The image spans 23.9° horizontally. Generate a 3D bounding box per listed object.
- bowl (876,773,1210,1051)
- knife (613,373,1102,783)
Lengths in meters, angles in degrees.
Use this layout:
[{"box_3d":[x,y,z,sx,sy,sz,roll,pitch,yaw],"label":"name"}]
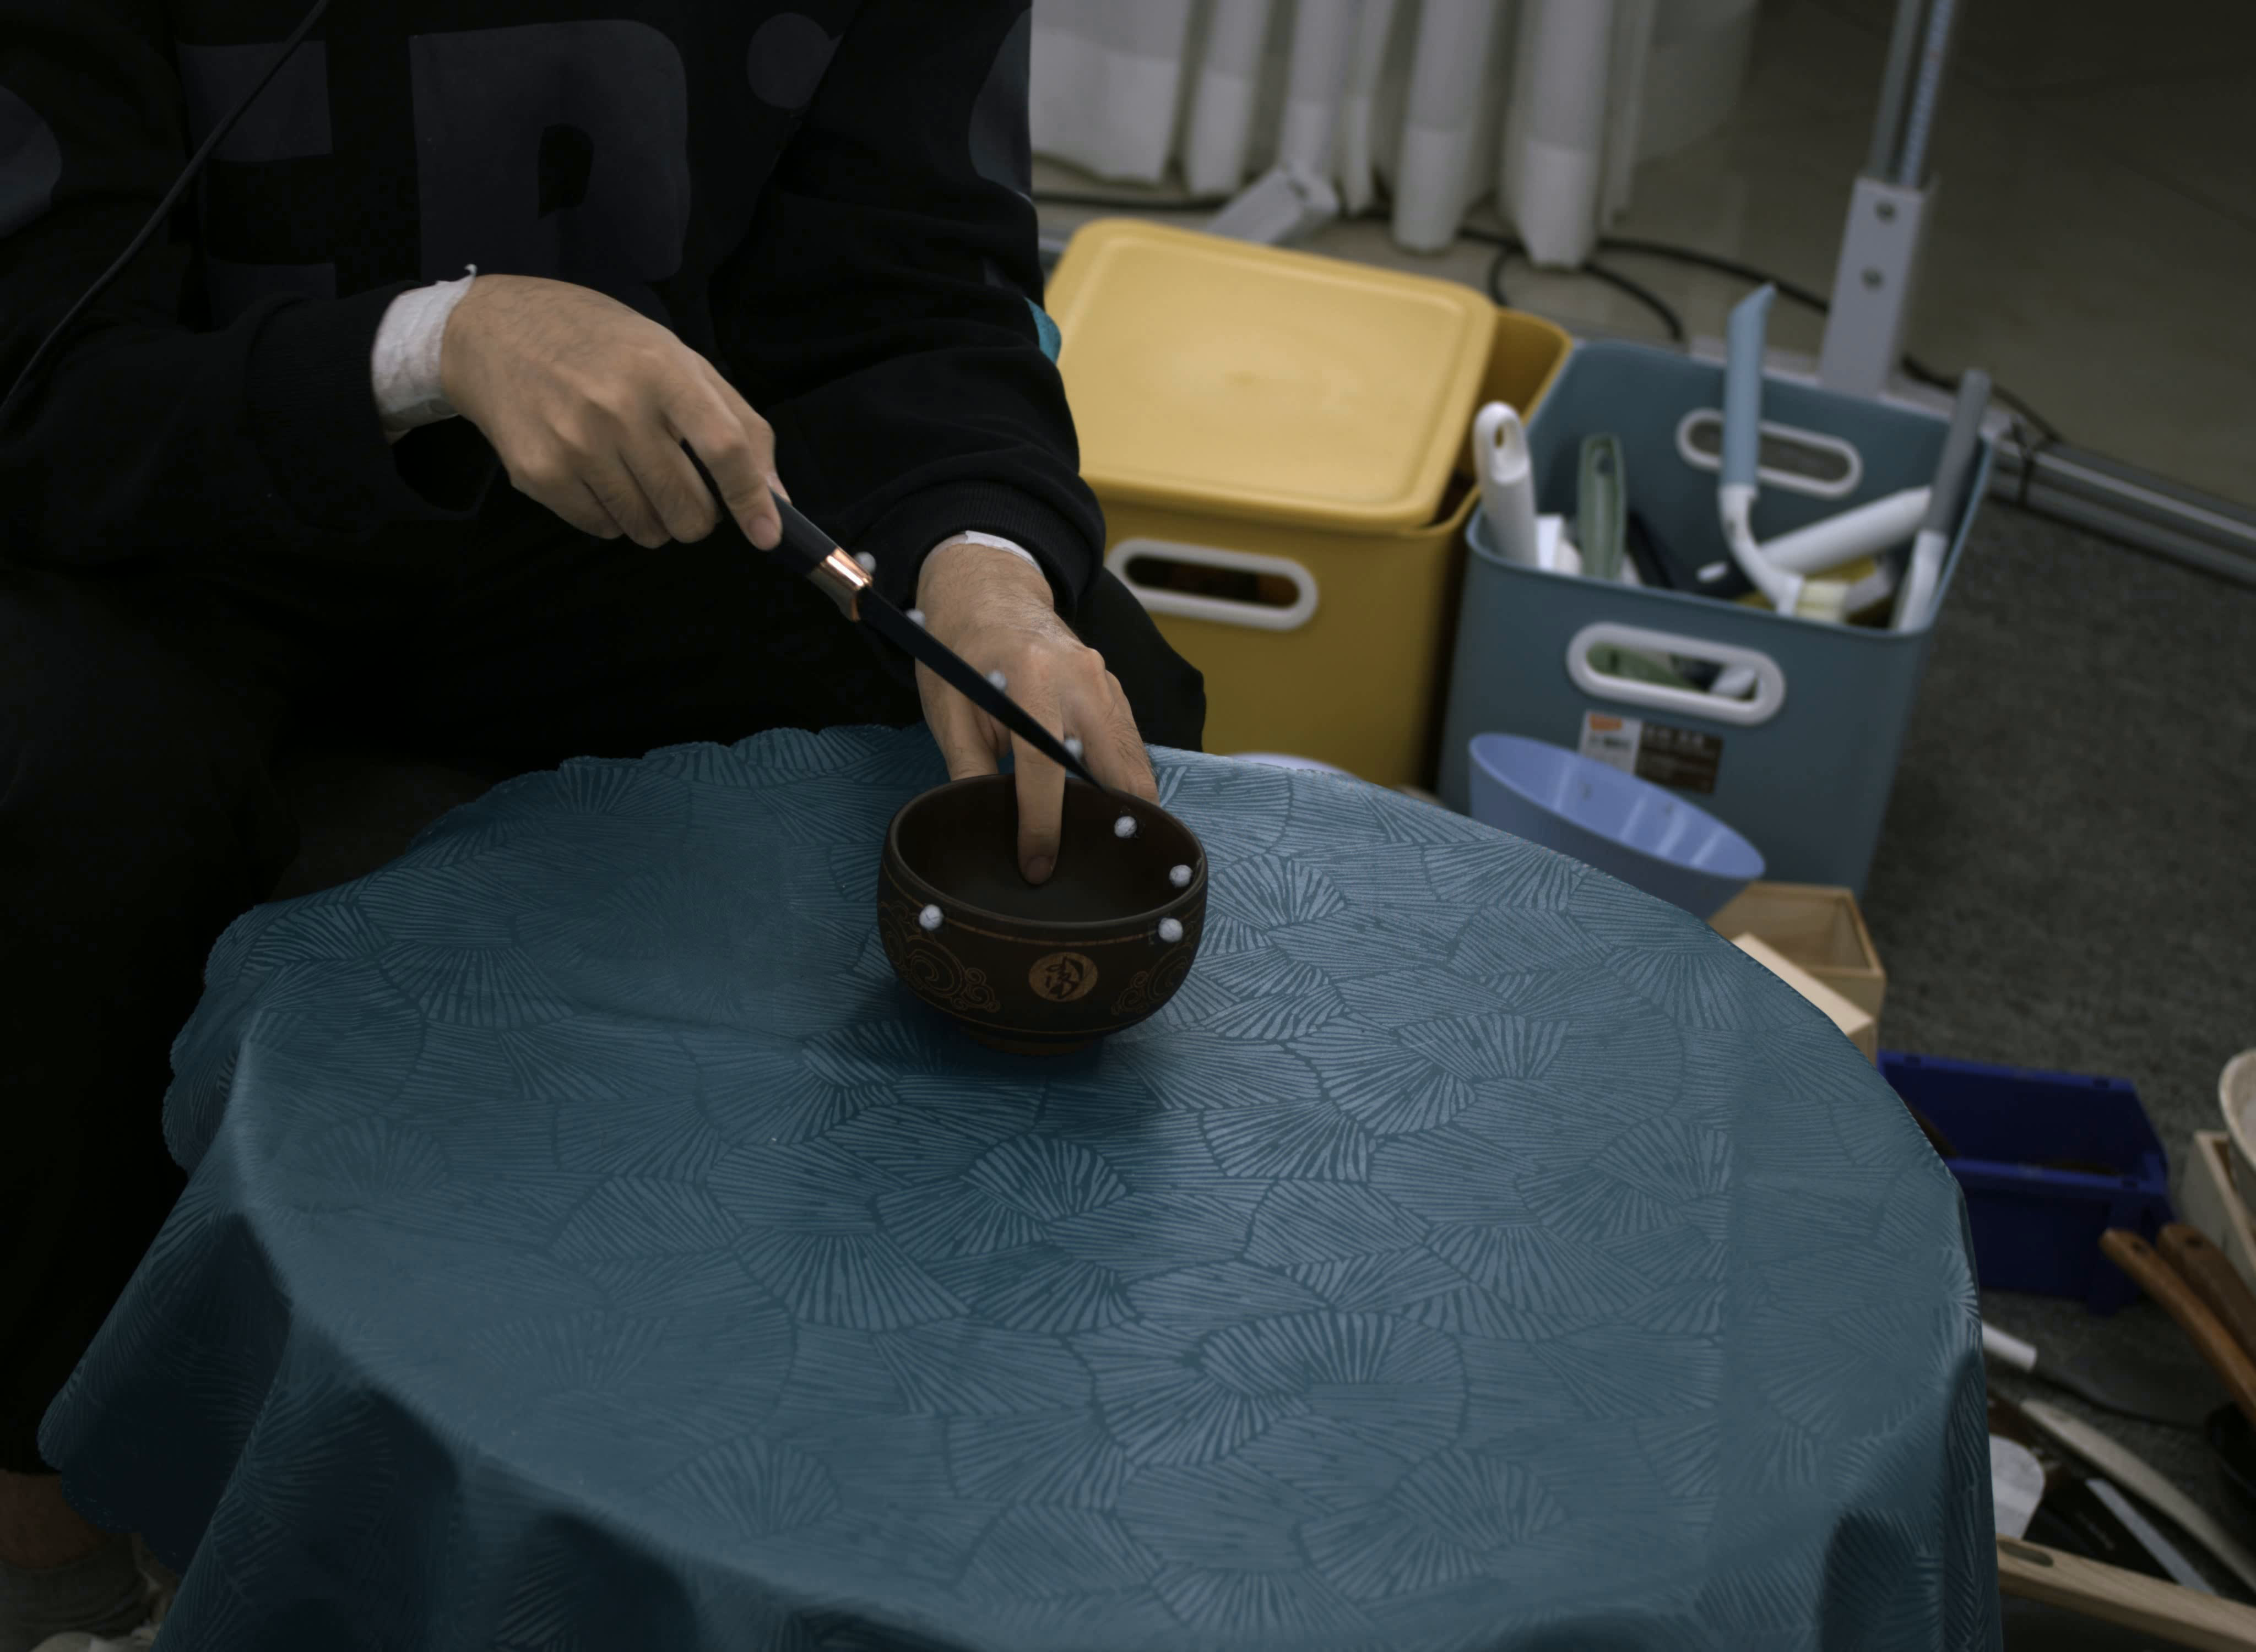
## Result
[{"box_3d":[-0.032,0.036,1.884,0.117,0.069,0.118,6,24,-3],"label":"bowl"},{"box_3d":[-0.095,-0.087,1.865,0.226,0.017,0.026,40,-2,13],"label":"knife"}]
